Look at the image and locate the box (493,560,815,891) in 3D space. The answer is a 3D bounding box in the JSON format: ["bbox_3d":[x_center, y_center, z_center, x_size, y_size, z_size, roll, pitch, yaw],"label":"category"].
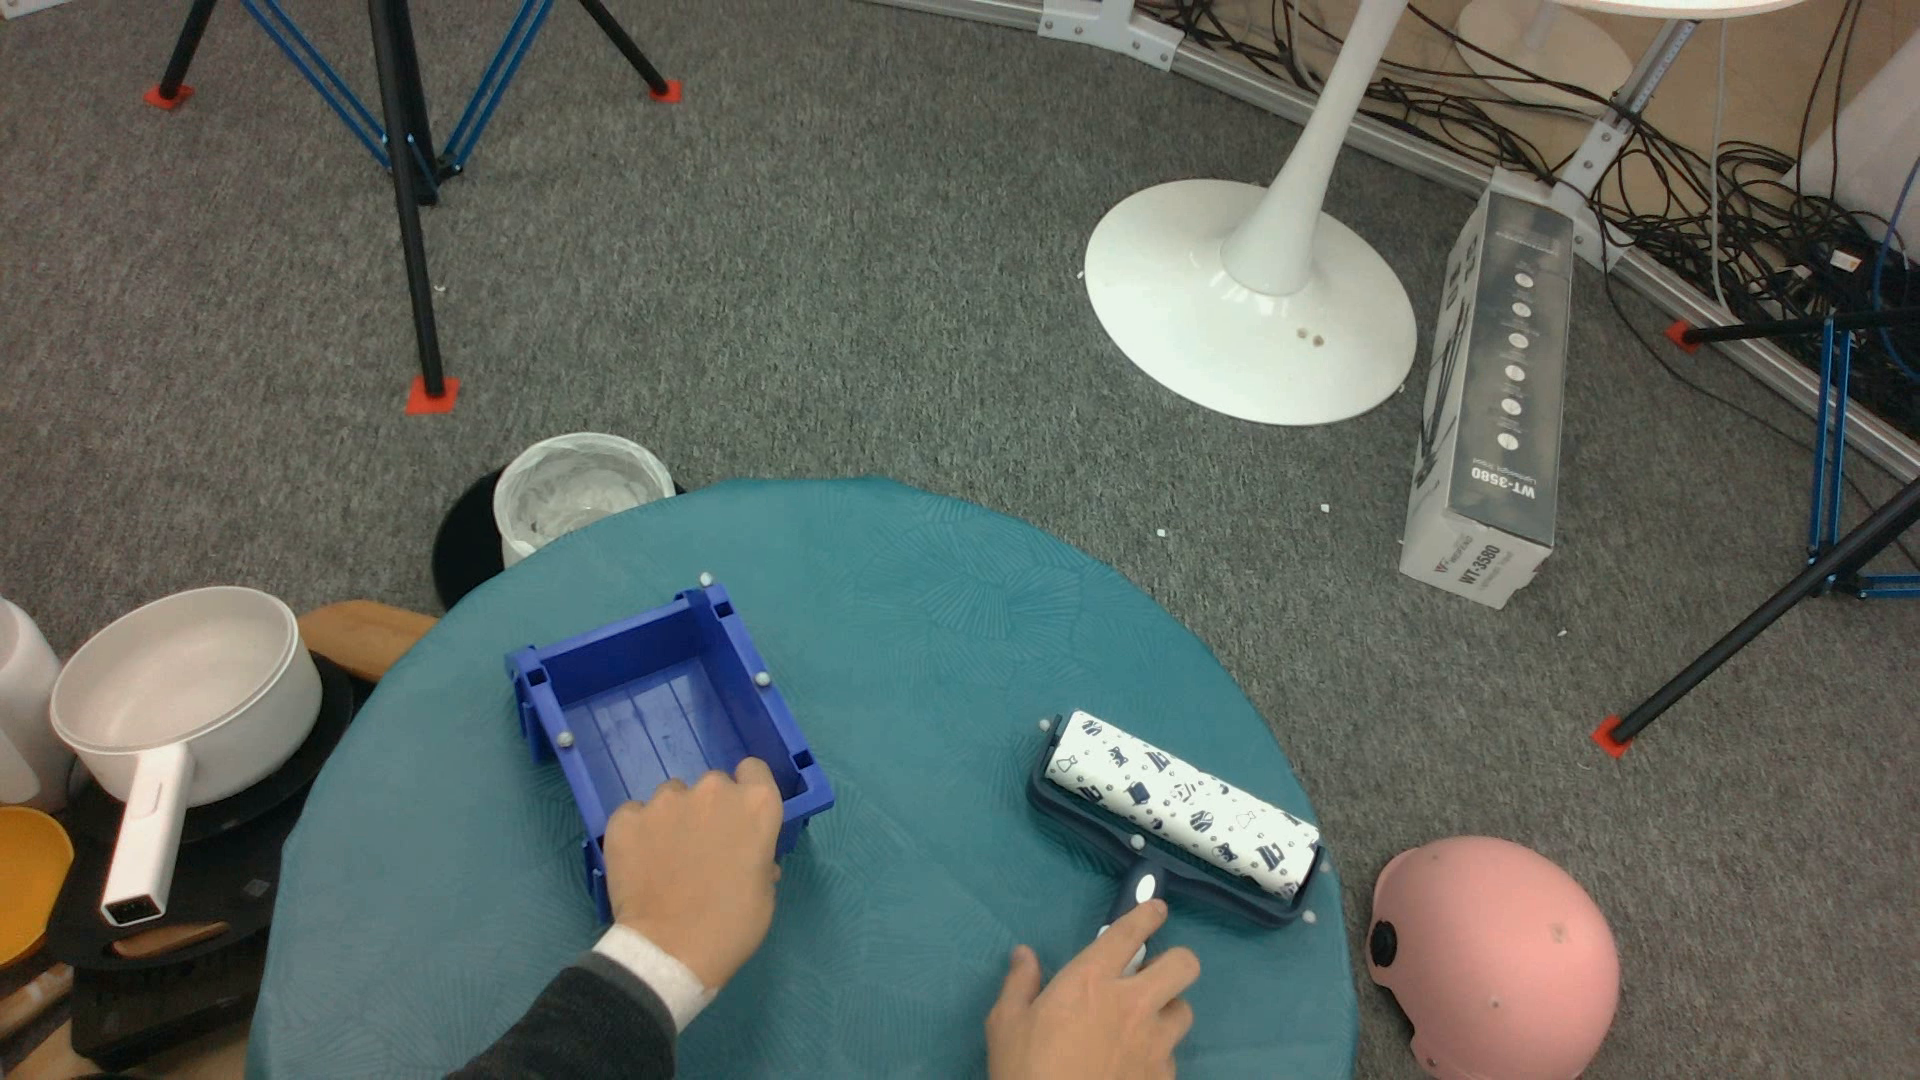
[{"bbox_3d":[-0.178,0.097,0.774,0.125,0.081,0.180,-19,63,-24],"label":"box"}]

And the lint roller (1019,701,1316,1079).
[{"bbox_3d":[0.085,0.224,0.766,0.176,0.050,0.248,26,55,6],"label":"lint roller"}]
